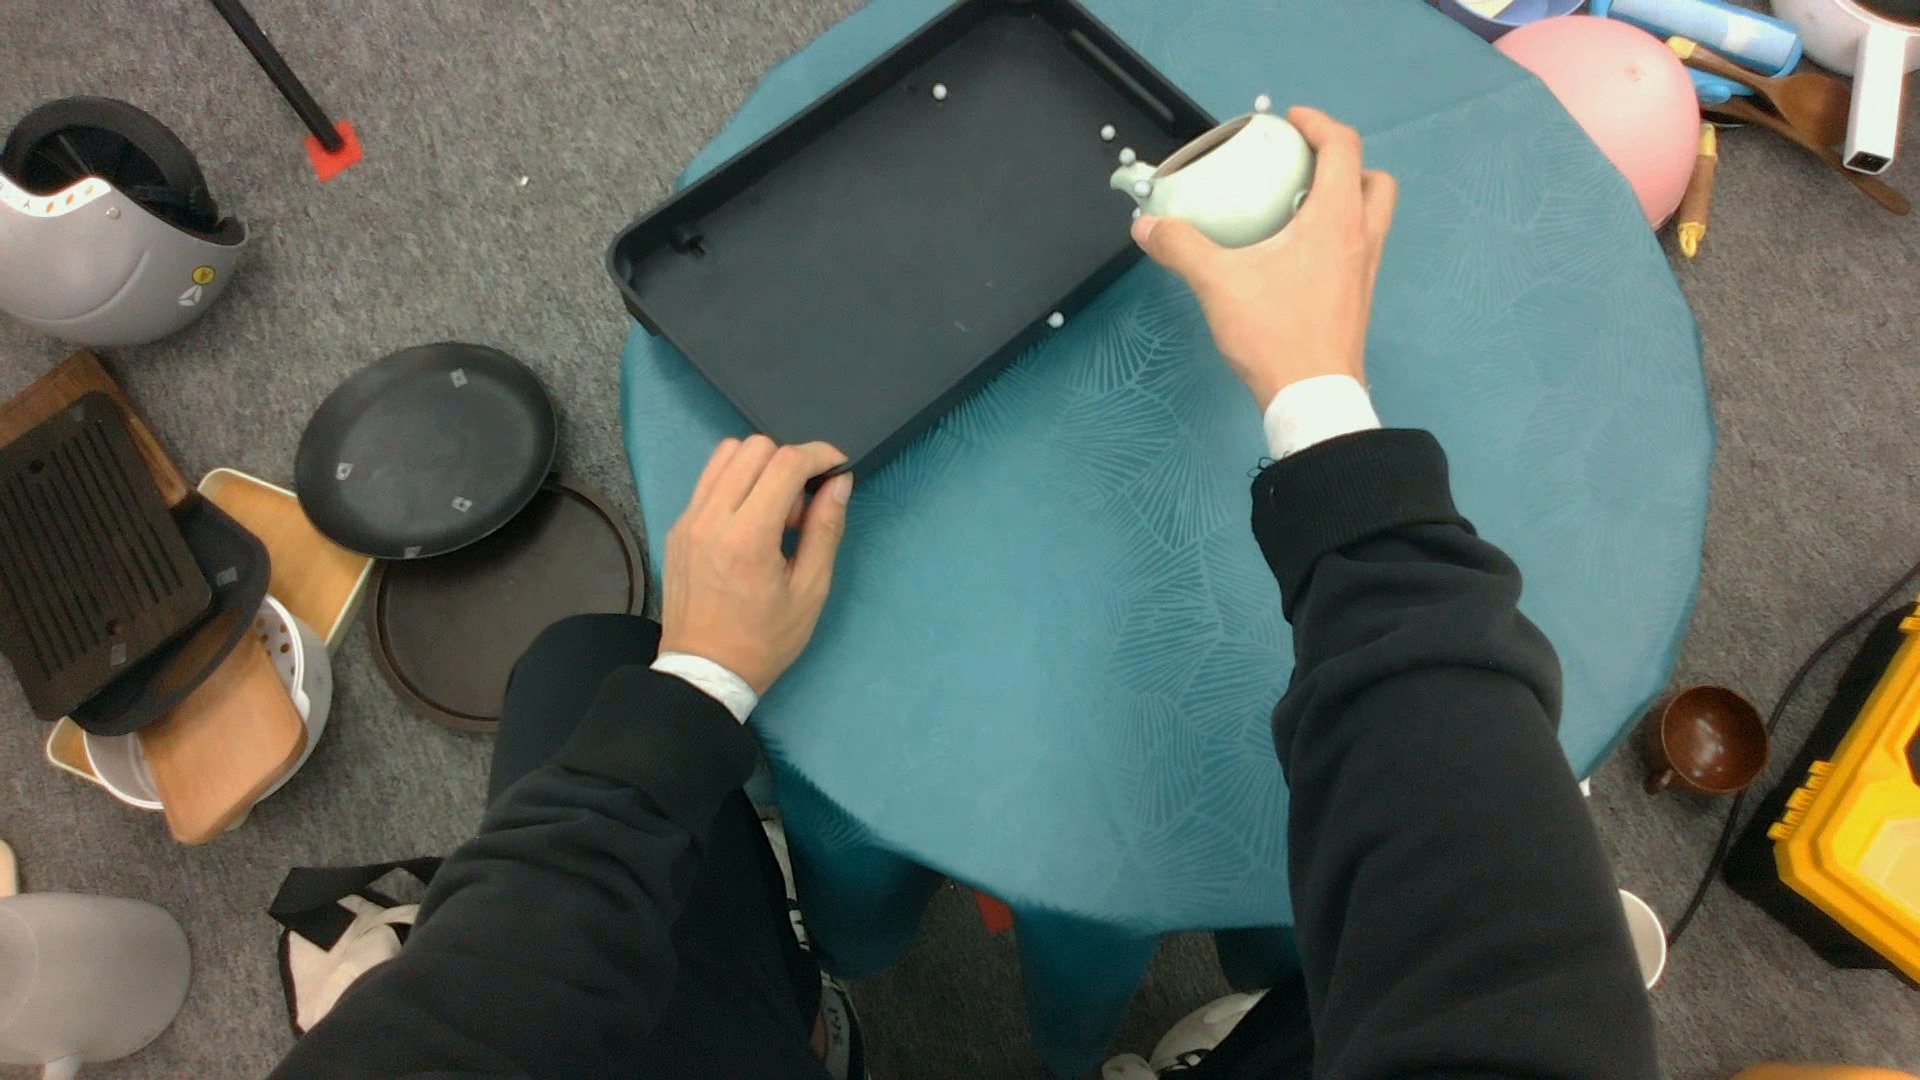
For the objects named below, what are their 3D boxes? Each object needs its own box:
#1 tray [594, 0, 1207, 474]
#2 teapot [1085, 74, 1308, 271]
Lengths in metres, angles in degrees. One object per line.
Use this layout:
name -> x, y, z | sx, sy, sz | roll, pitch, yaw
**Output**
tray -> -0.026, -0.190, 0.759 | 0.184, 0.037, 0.319 | 42, 70, 13
teapot -> 0.119, -0.174, 0.672 | 0.088, 0.143, 0.074 | -43, 107, -21
